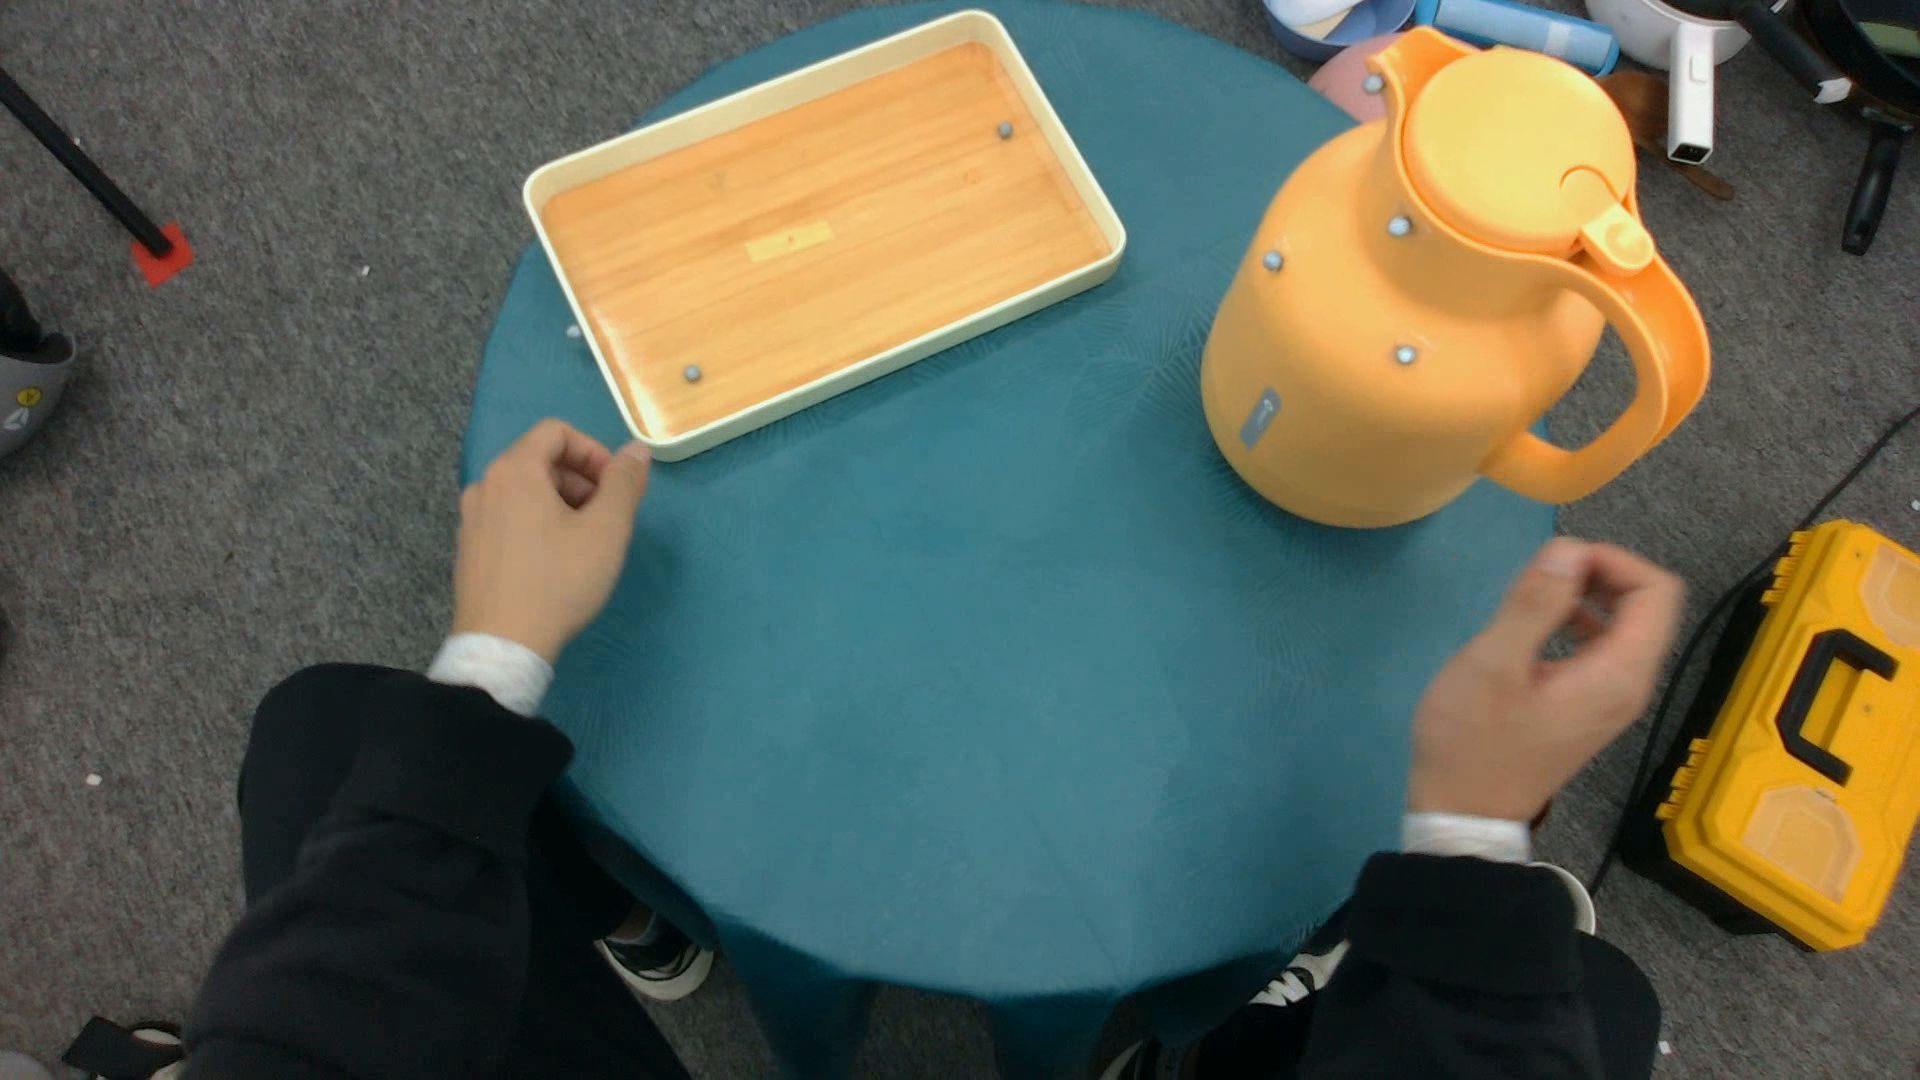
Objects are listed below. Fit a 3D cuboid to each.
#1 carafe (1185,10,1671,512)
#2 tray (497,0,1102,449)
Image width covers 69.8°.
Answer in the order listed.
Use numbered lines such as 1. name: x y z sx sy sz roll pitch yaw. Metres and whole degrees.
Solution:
1. carafe: 0.215 -0.109 0.652 0.164 0.259 0.202 -33 74 -11
2. tray: -0.089 -0.187 0.784 0.301 0.027 0.192 -25 74 -12
